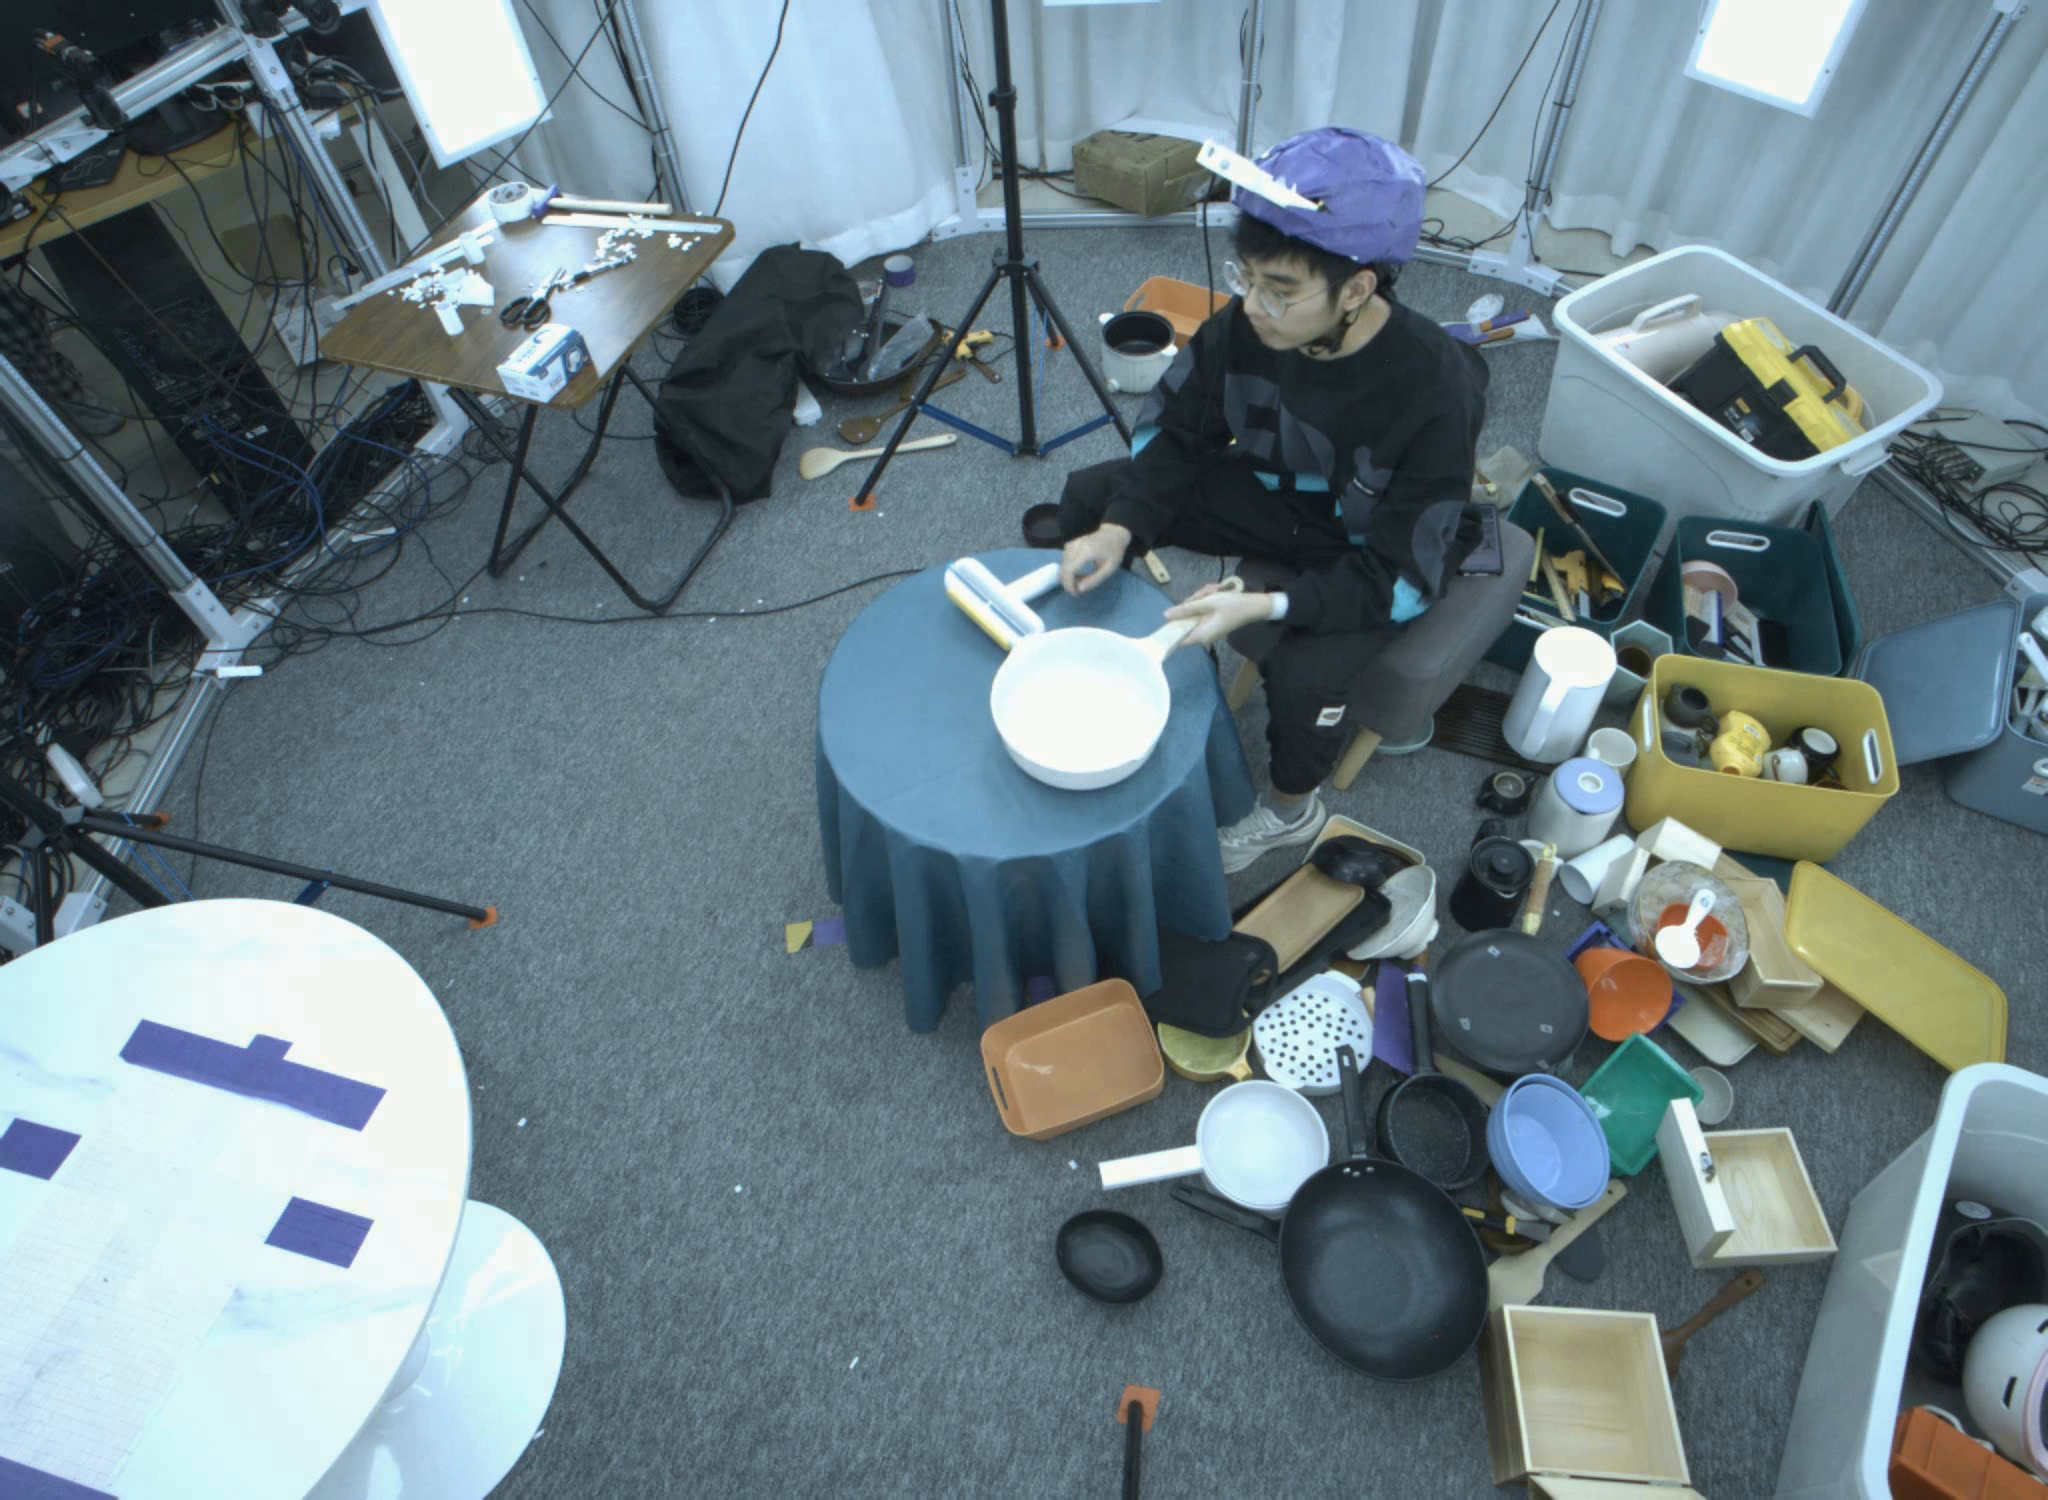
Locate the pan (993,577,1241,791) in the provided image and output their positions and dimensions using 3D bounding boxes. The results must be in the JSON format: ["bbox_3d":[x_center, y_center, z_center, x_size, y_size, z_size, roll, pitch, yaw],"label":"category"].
[{"bbox_3d":[0.154,-0.105,1.784,0.438,0.103,0.258,-35,61,-20],"label":"pan"}]

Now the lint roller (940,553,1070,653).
[{"bbox_3d":[-0.007,-0.252,1.921,0.194,0.075,0.190,-34,66,-22],"label":"lint roller"}]
